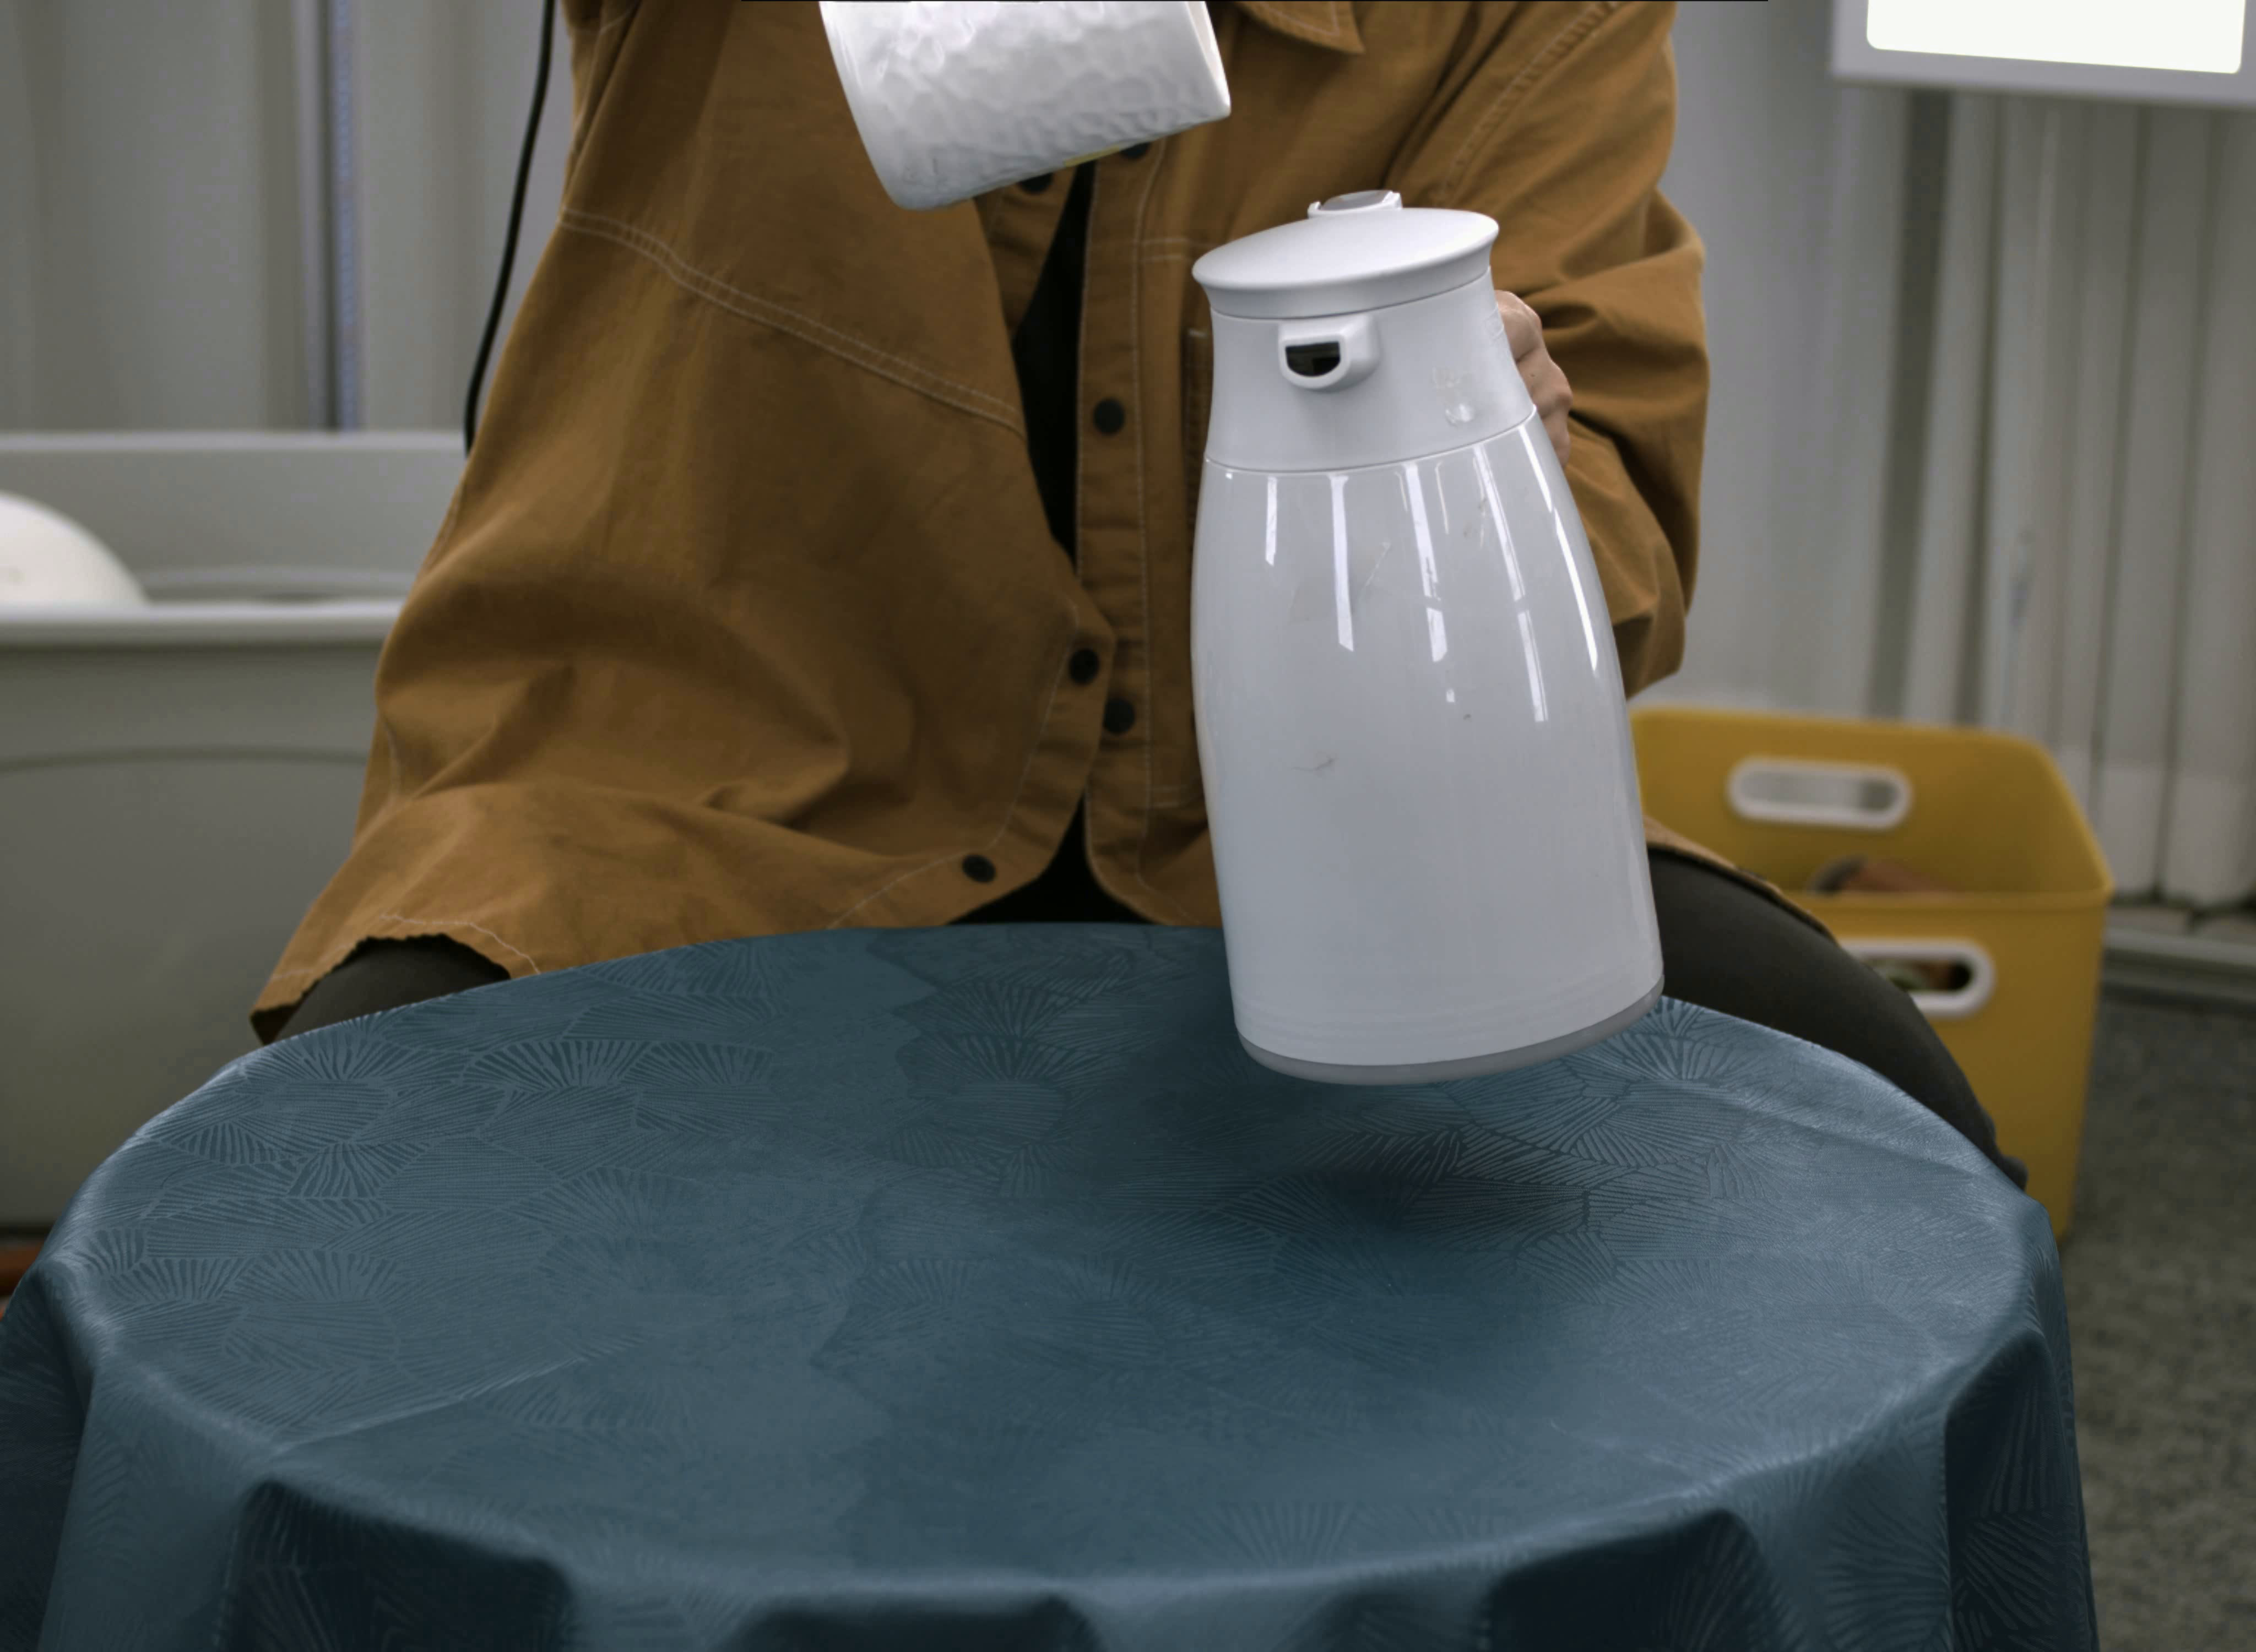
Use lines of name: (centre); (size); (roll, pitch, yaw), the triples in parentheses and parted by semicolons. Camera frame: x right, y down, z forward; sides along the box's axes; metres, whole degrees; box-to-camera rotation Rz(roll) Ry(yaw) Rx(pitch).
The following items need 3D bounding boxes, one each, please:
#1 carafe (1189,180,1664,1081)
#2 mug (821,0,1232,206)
carafe: (0.083, -0.067, 1.595); (0.131, 0.251, 0.167); (-6, 17, 13)
mug: (-0.036, -0.250, 1.526); (0.101, 0.118, 0.085); (-18, 2, 6)
